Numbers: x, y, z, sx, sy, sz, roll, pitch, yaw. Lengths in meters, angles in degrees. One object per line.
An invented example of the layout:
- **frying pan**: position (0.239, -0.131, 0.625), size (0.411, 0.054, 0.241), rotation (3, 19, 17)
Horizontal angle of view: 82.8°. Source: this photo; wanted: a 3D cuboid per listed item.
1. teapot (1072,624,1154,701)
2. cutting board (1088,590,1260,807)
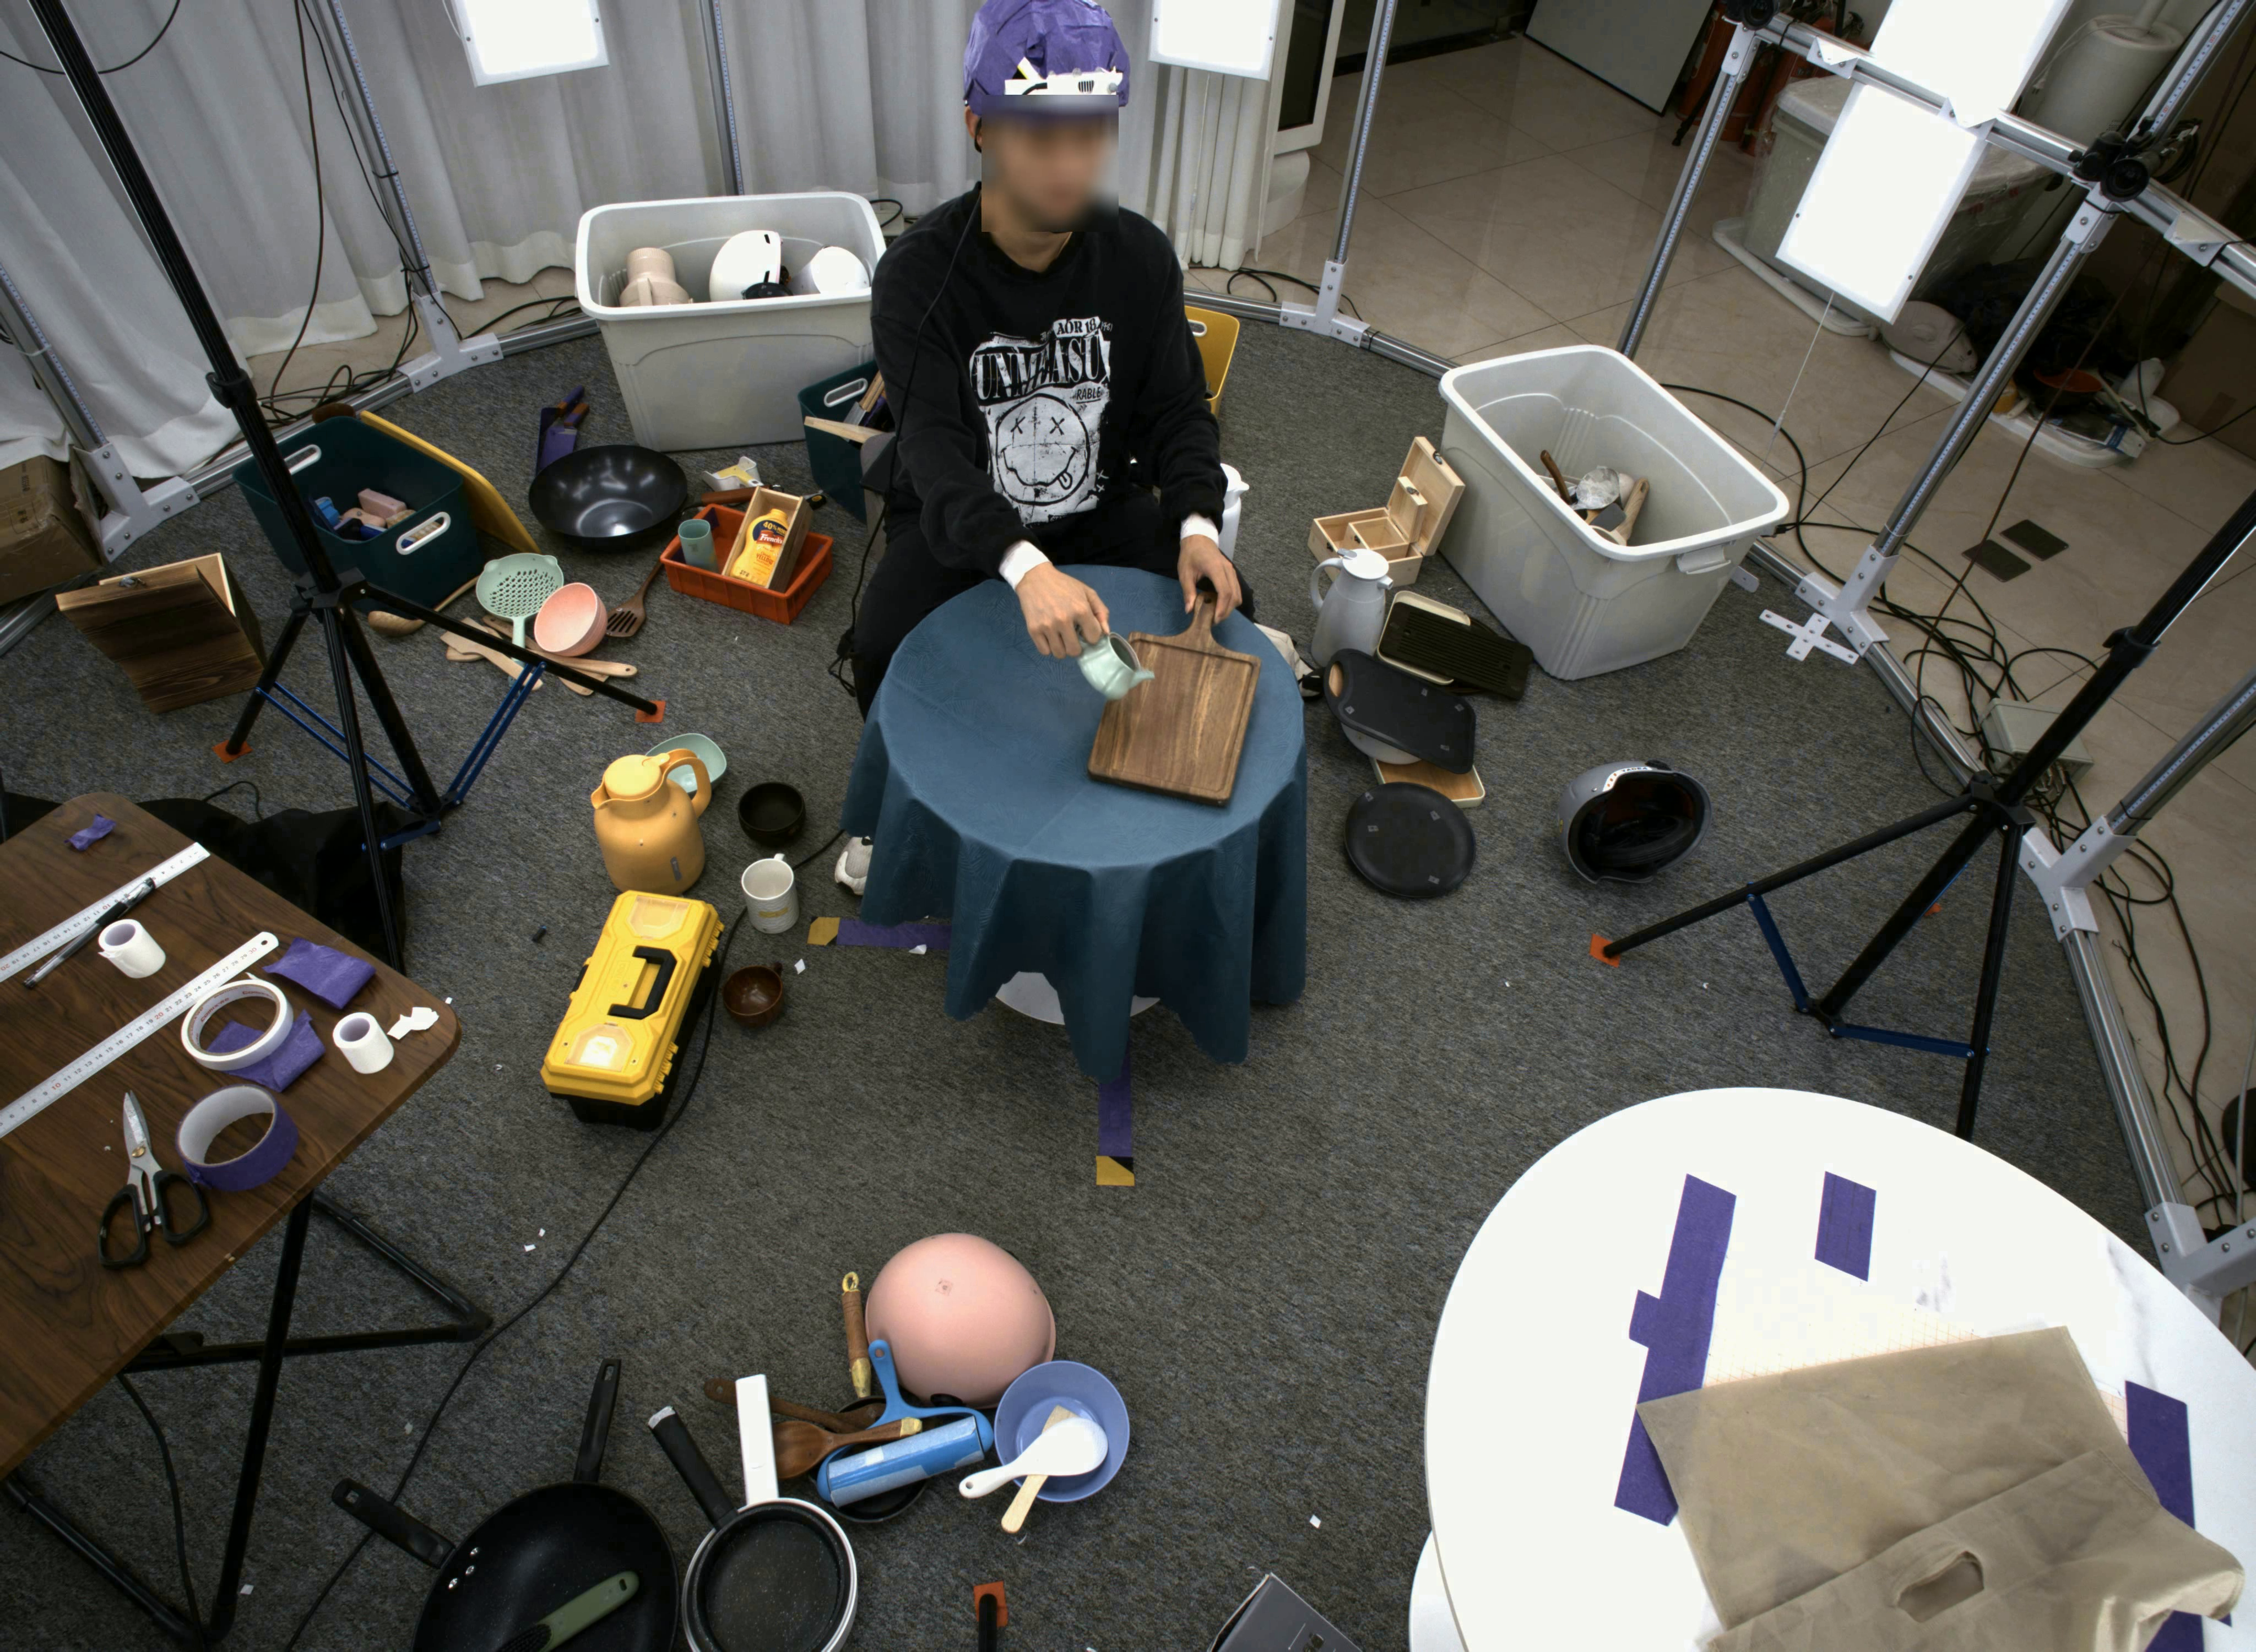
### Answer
- **teapot**: position (-0.029, -0.218, 1.698), size (0.061, 0.134, 0.098), rotation (-34, 42, 25)
- **cutting board**: position (0.077, -0.193, 1.793), size (0.201, 0.023, 0.359), rotation (11, 58, 6)
